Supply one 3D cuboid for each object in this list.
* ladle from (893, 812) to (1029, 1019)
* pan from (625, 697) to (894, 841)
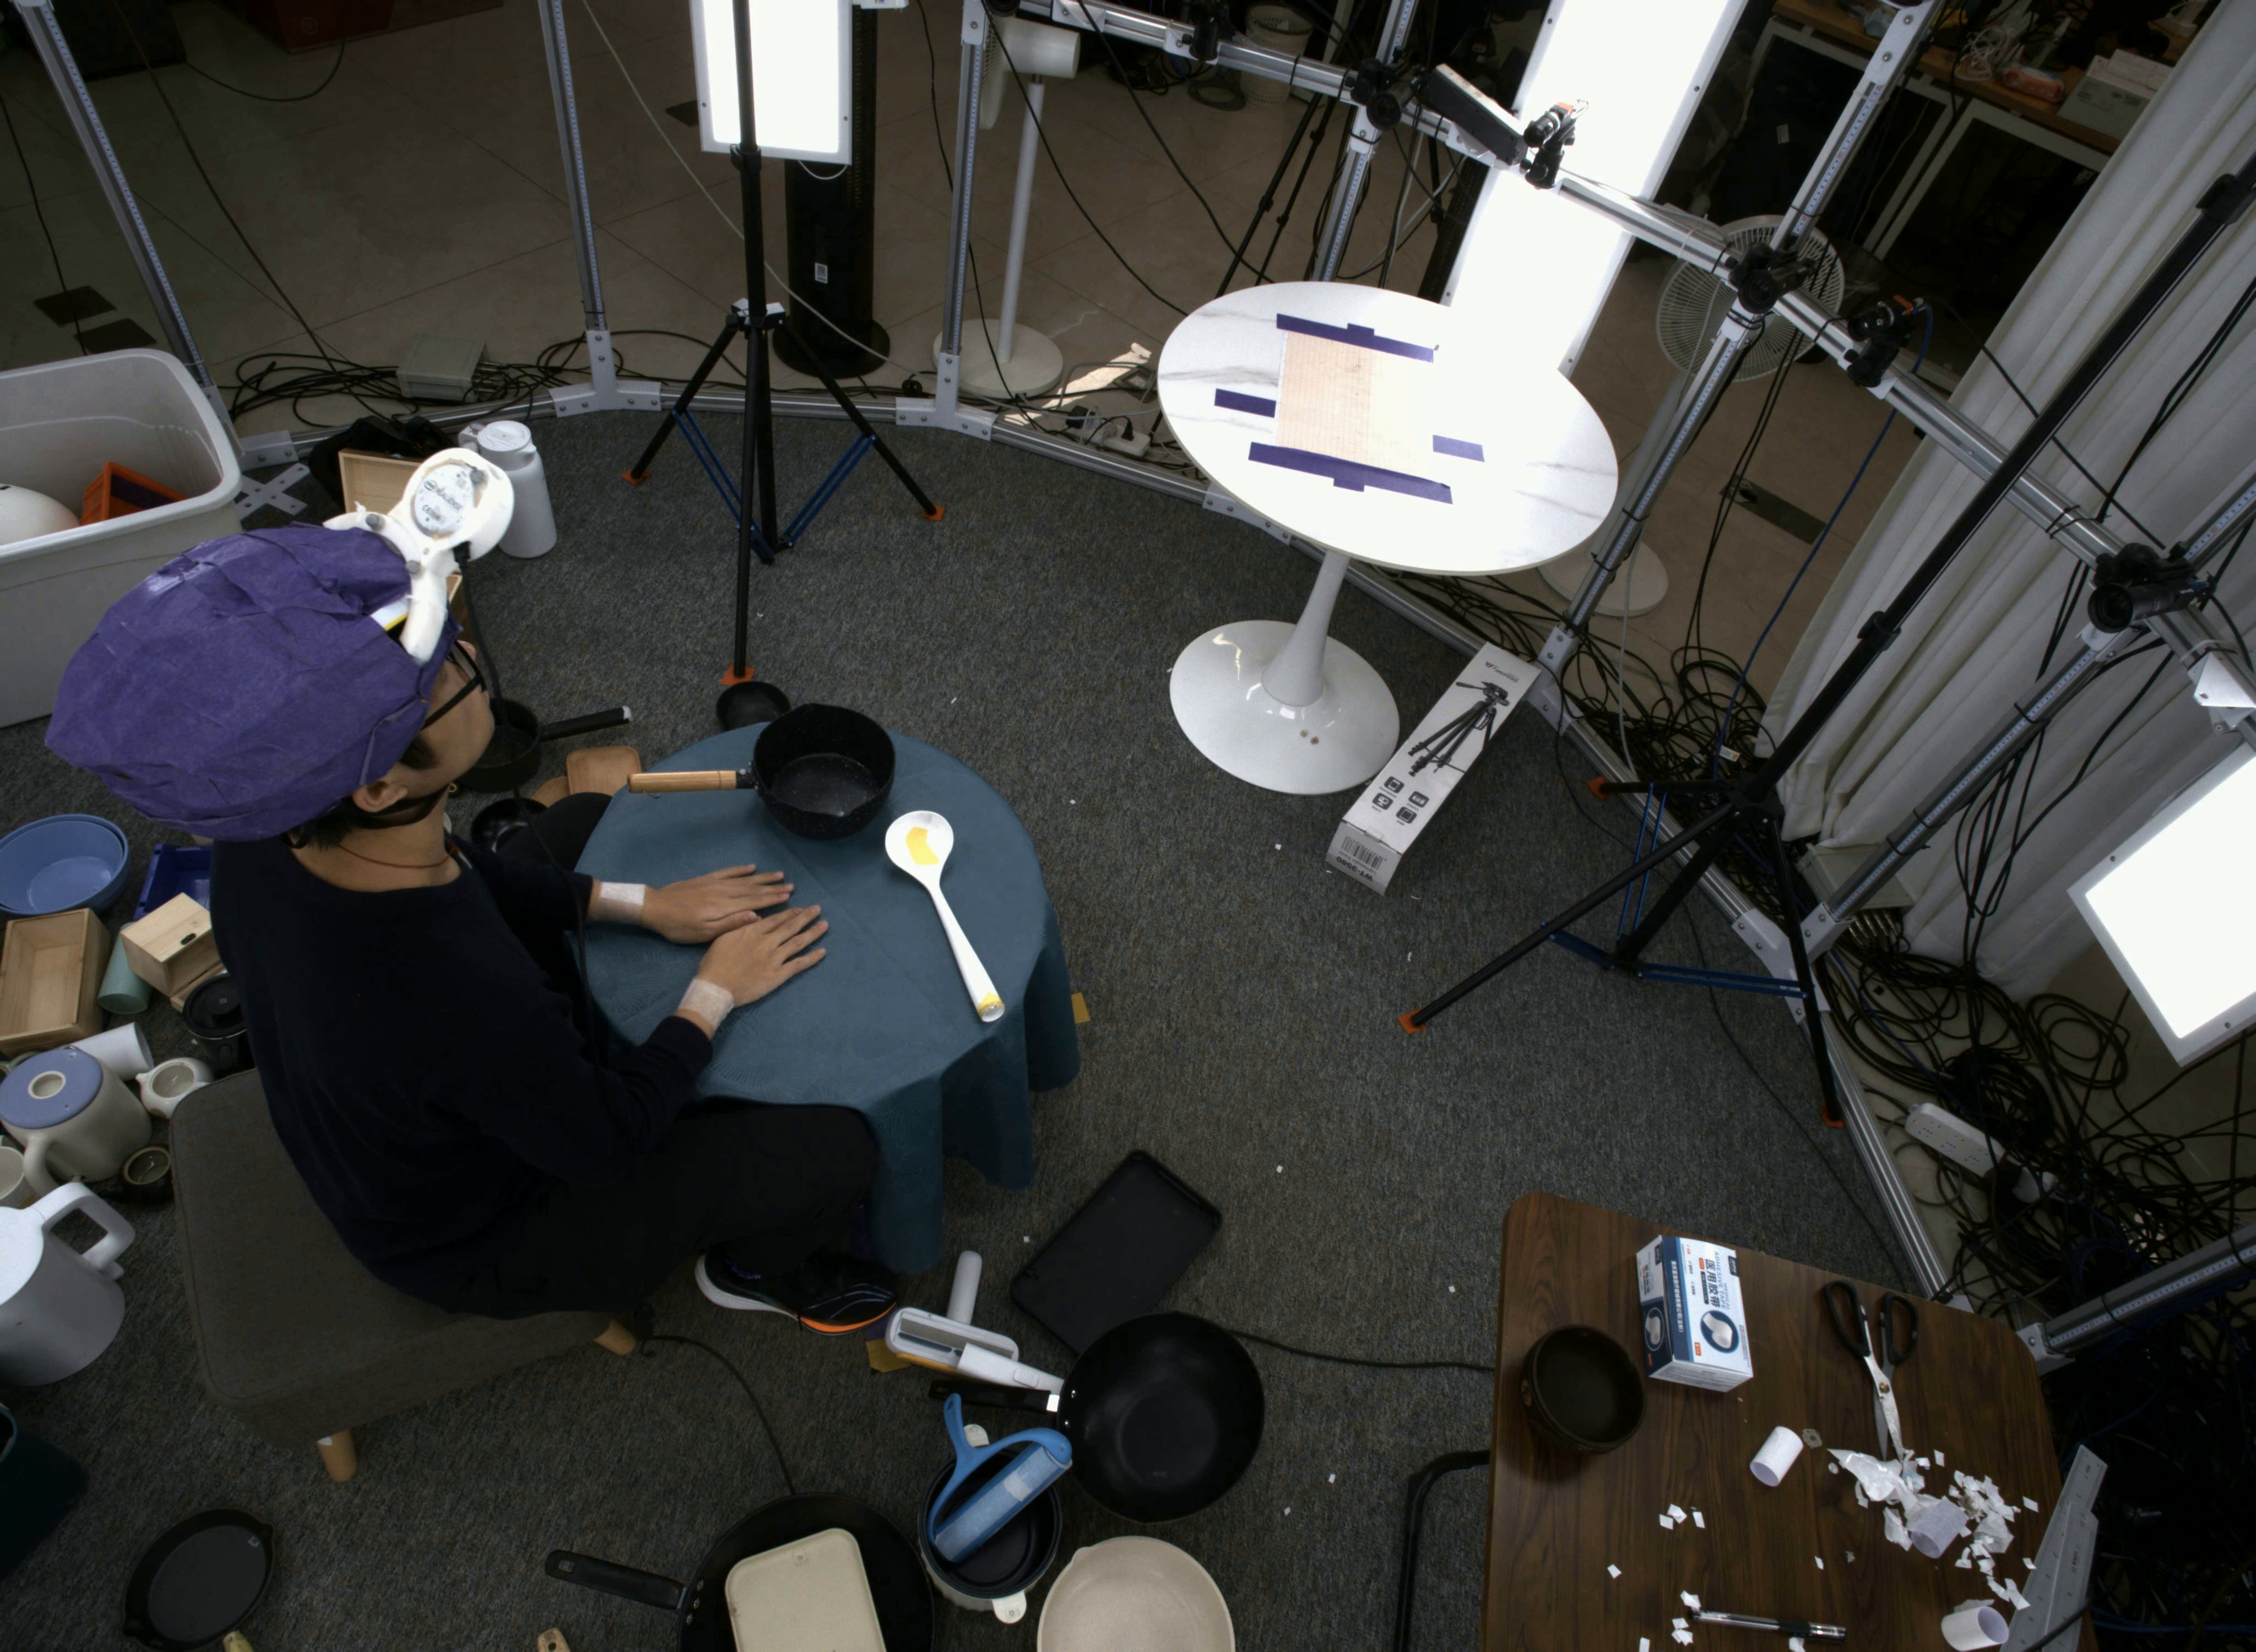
[{"bbox_3d":[-0.206,0.110,1.649,0.090,0.072,0.285,-27,62,-13],"label":"ladle"},{"bbox_3d":[-0.473,-0.057,1.674,0.345,0.110,0.202,-12,58,-24],"label":"pan"}]
